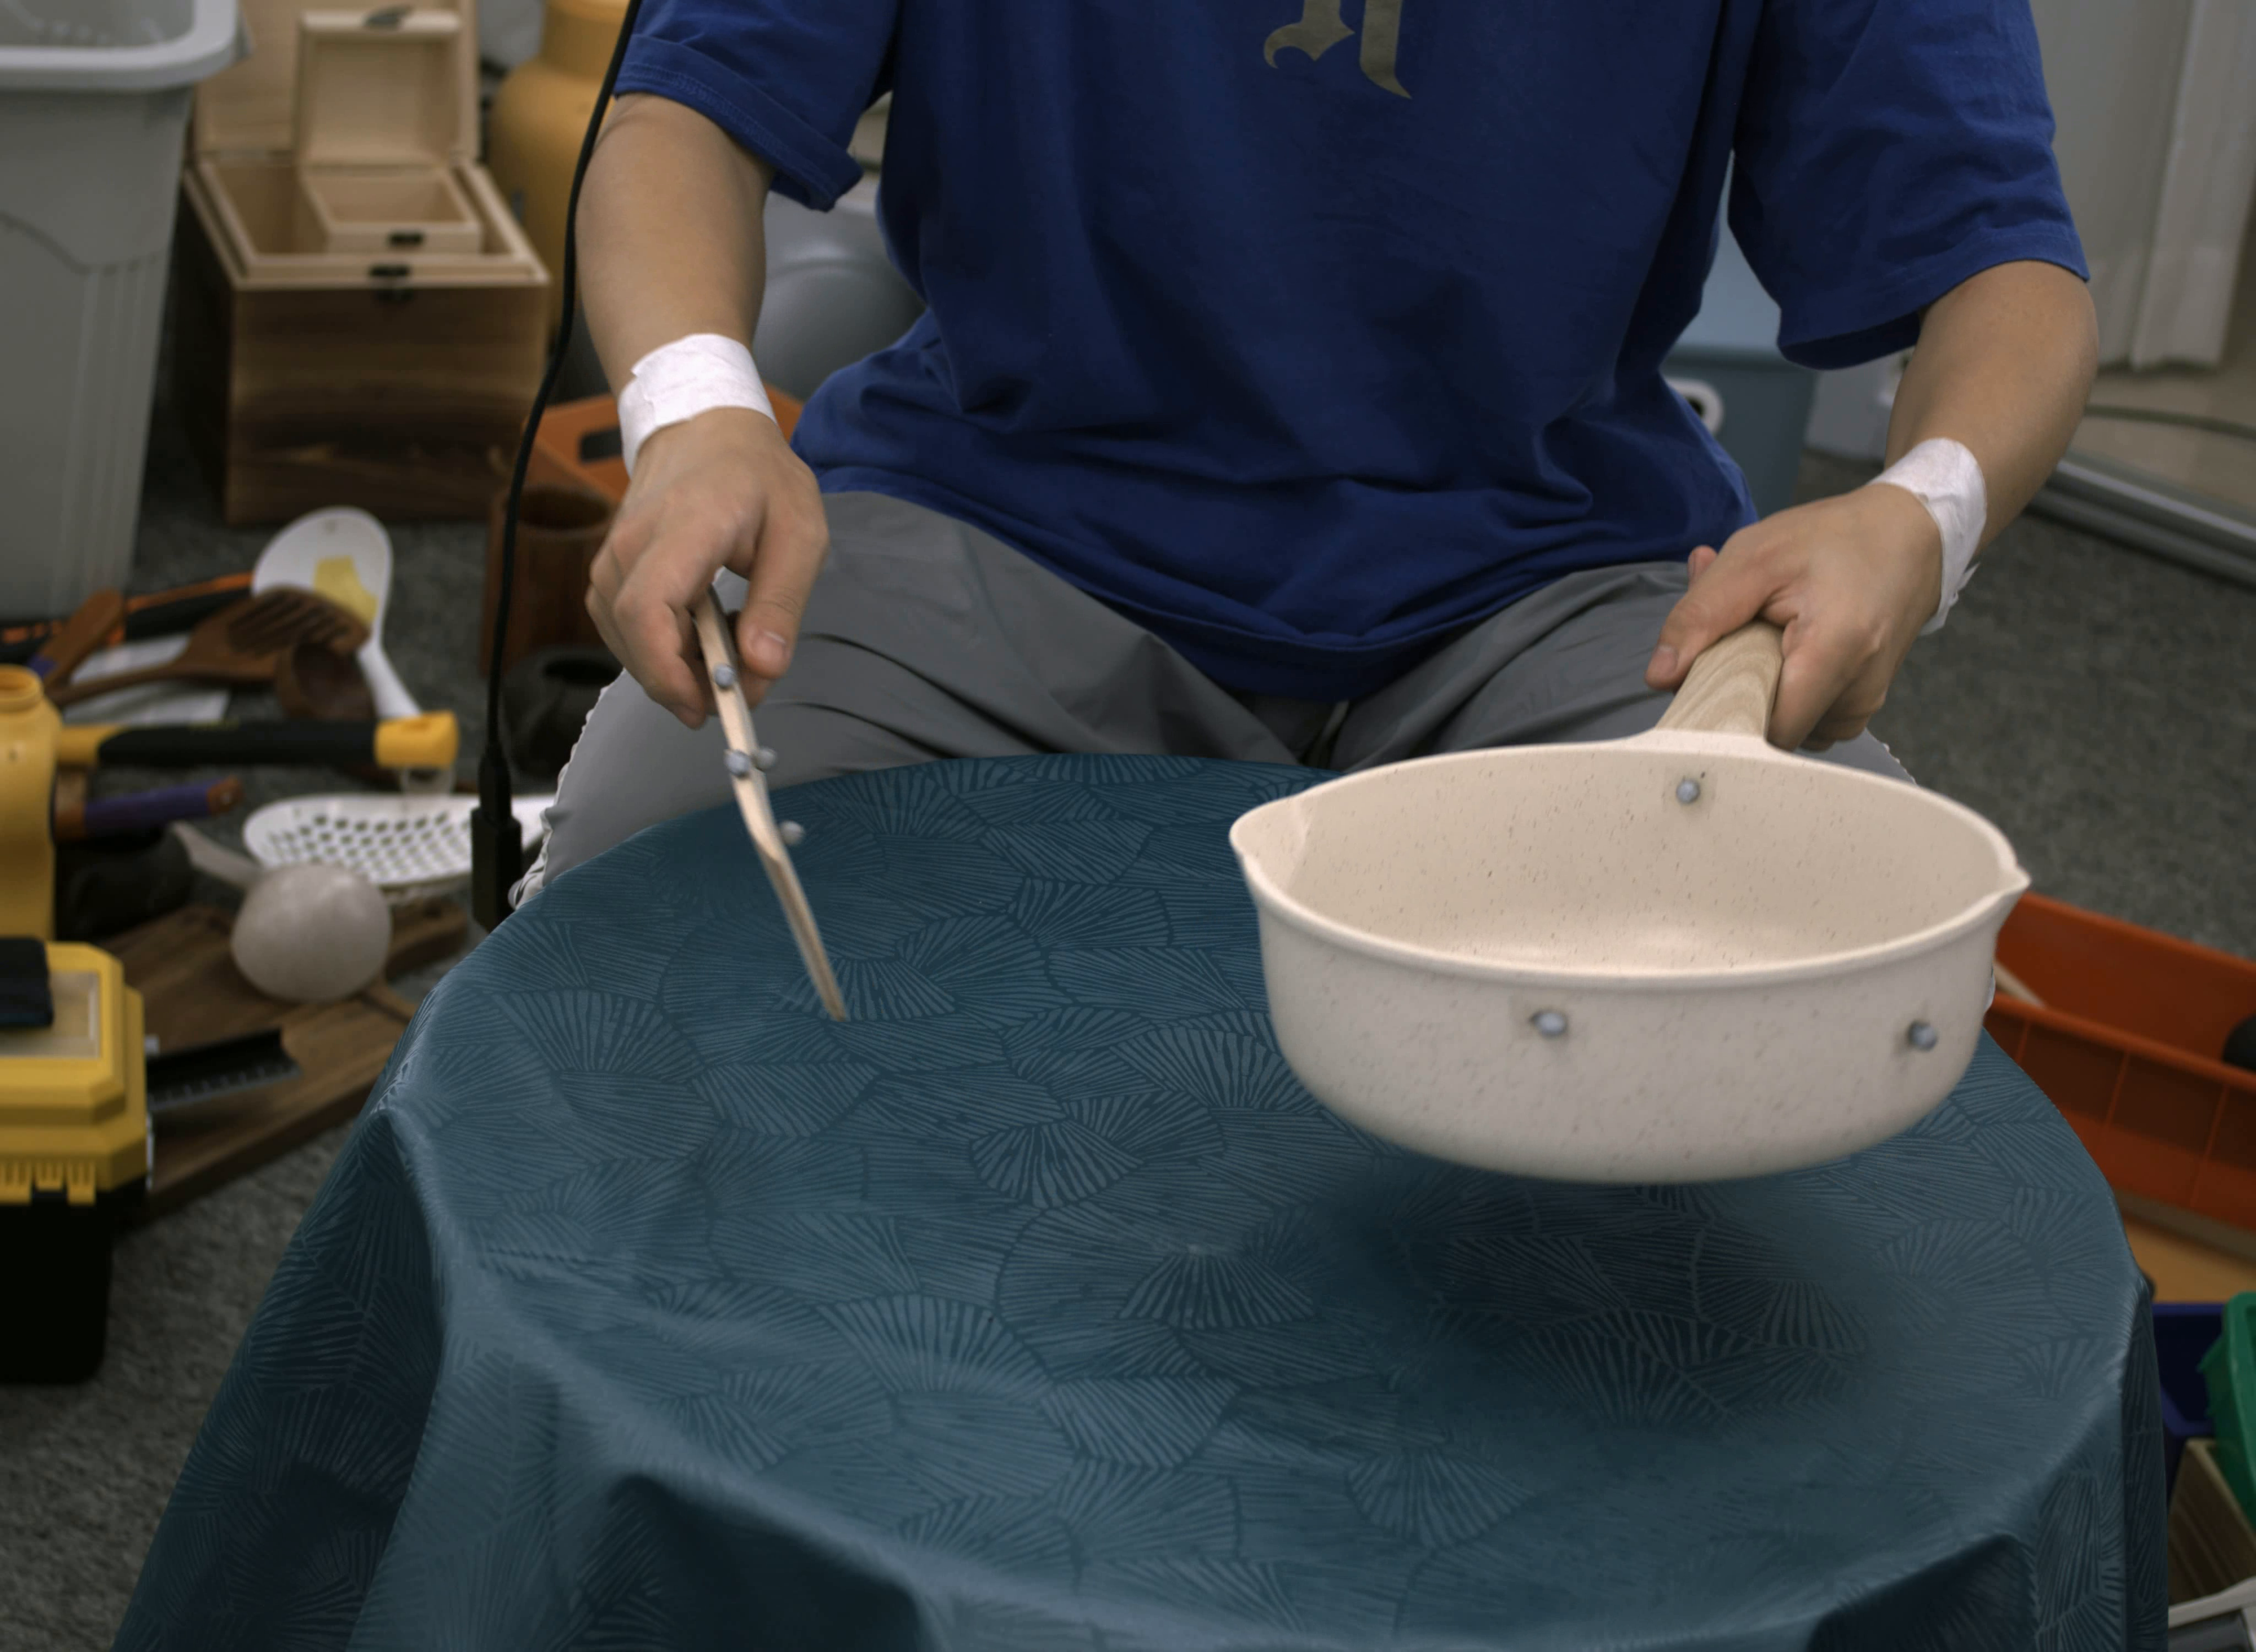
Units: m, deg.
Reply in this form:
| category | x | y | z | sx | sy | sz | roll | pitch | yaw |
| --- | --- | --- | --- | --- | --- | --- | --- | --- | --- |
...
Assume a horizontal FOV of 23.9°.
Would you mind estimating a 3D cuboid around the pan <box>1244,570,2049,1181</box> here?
| category | x | y | z | sx | sy | sz | roll | pitch | yaw |
| --- | --- | --- | --- | --- | --- | --- | --- | --- | --- |
| pan | 0.191 | 0.013 | 1.824 | 0.263 | 0.102 | 0.435 | 2 | 17 | 15 |

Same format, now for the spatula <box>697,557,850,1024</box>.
| category | x | y | z | sx | sy | sz | roll | pitch | yaw |
| --- | --- | --- | --- | --- | --- | --- | --- | --- | --- |
| spatula | -0.130 | -0.027 | 1.862 | 0.010 | 0.072 | 0.295 | -21 | 29 | 0 |
